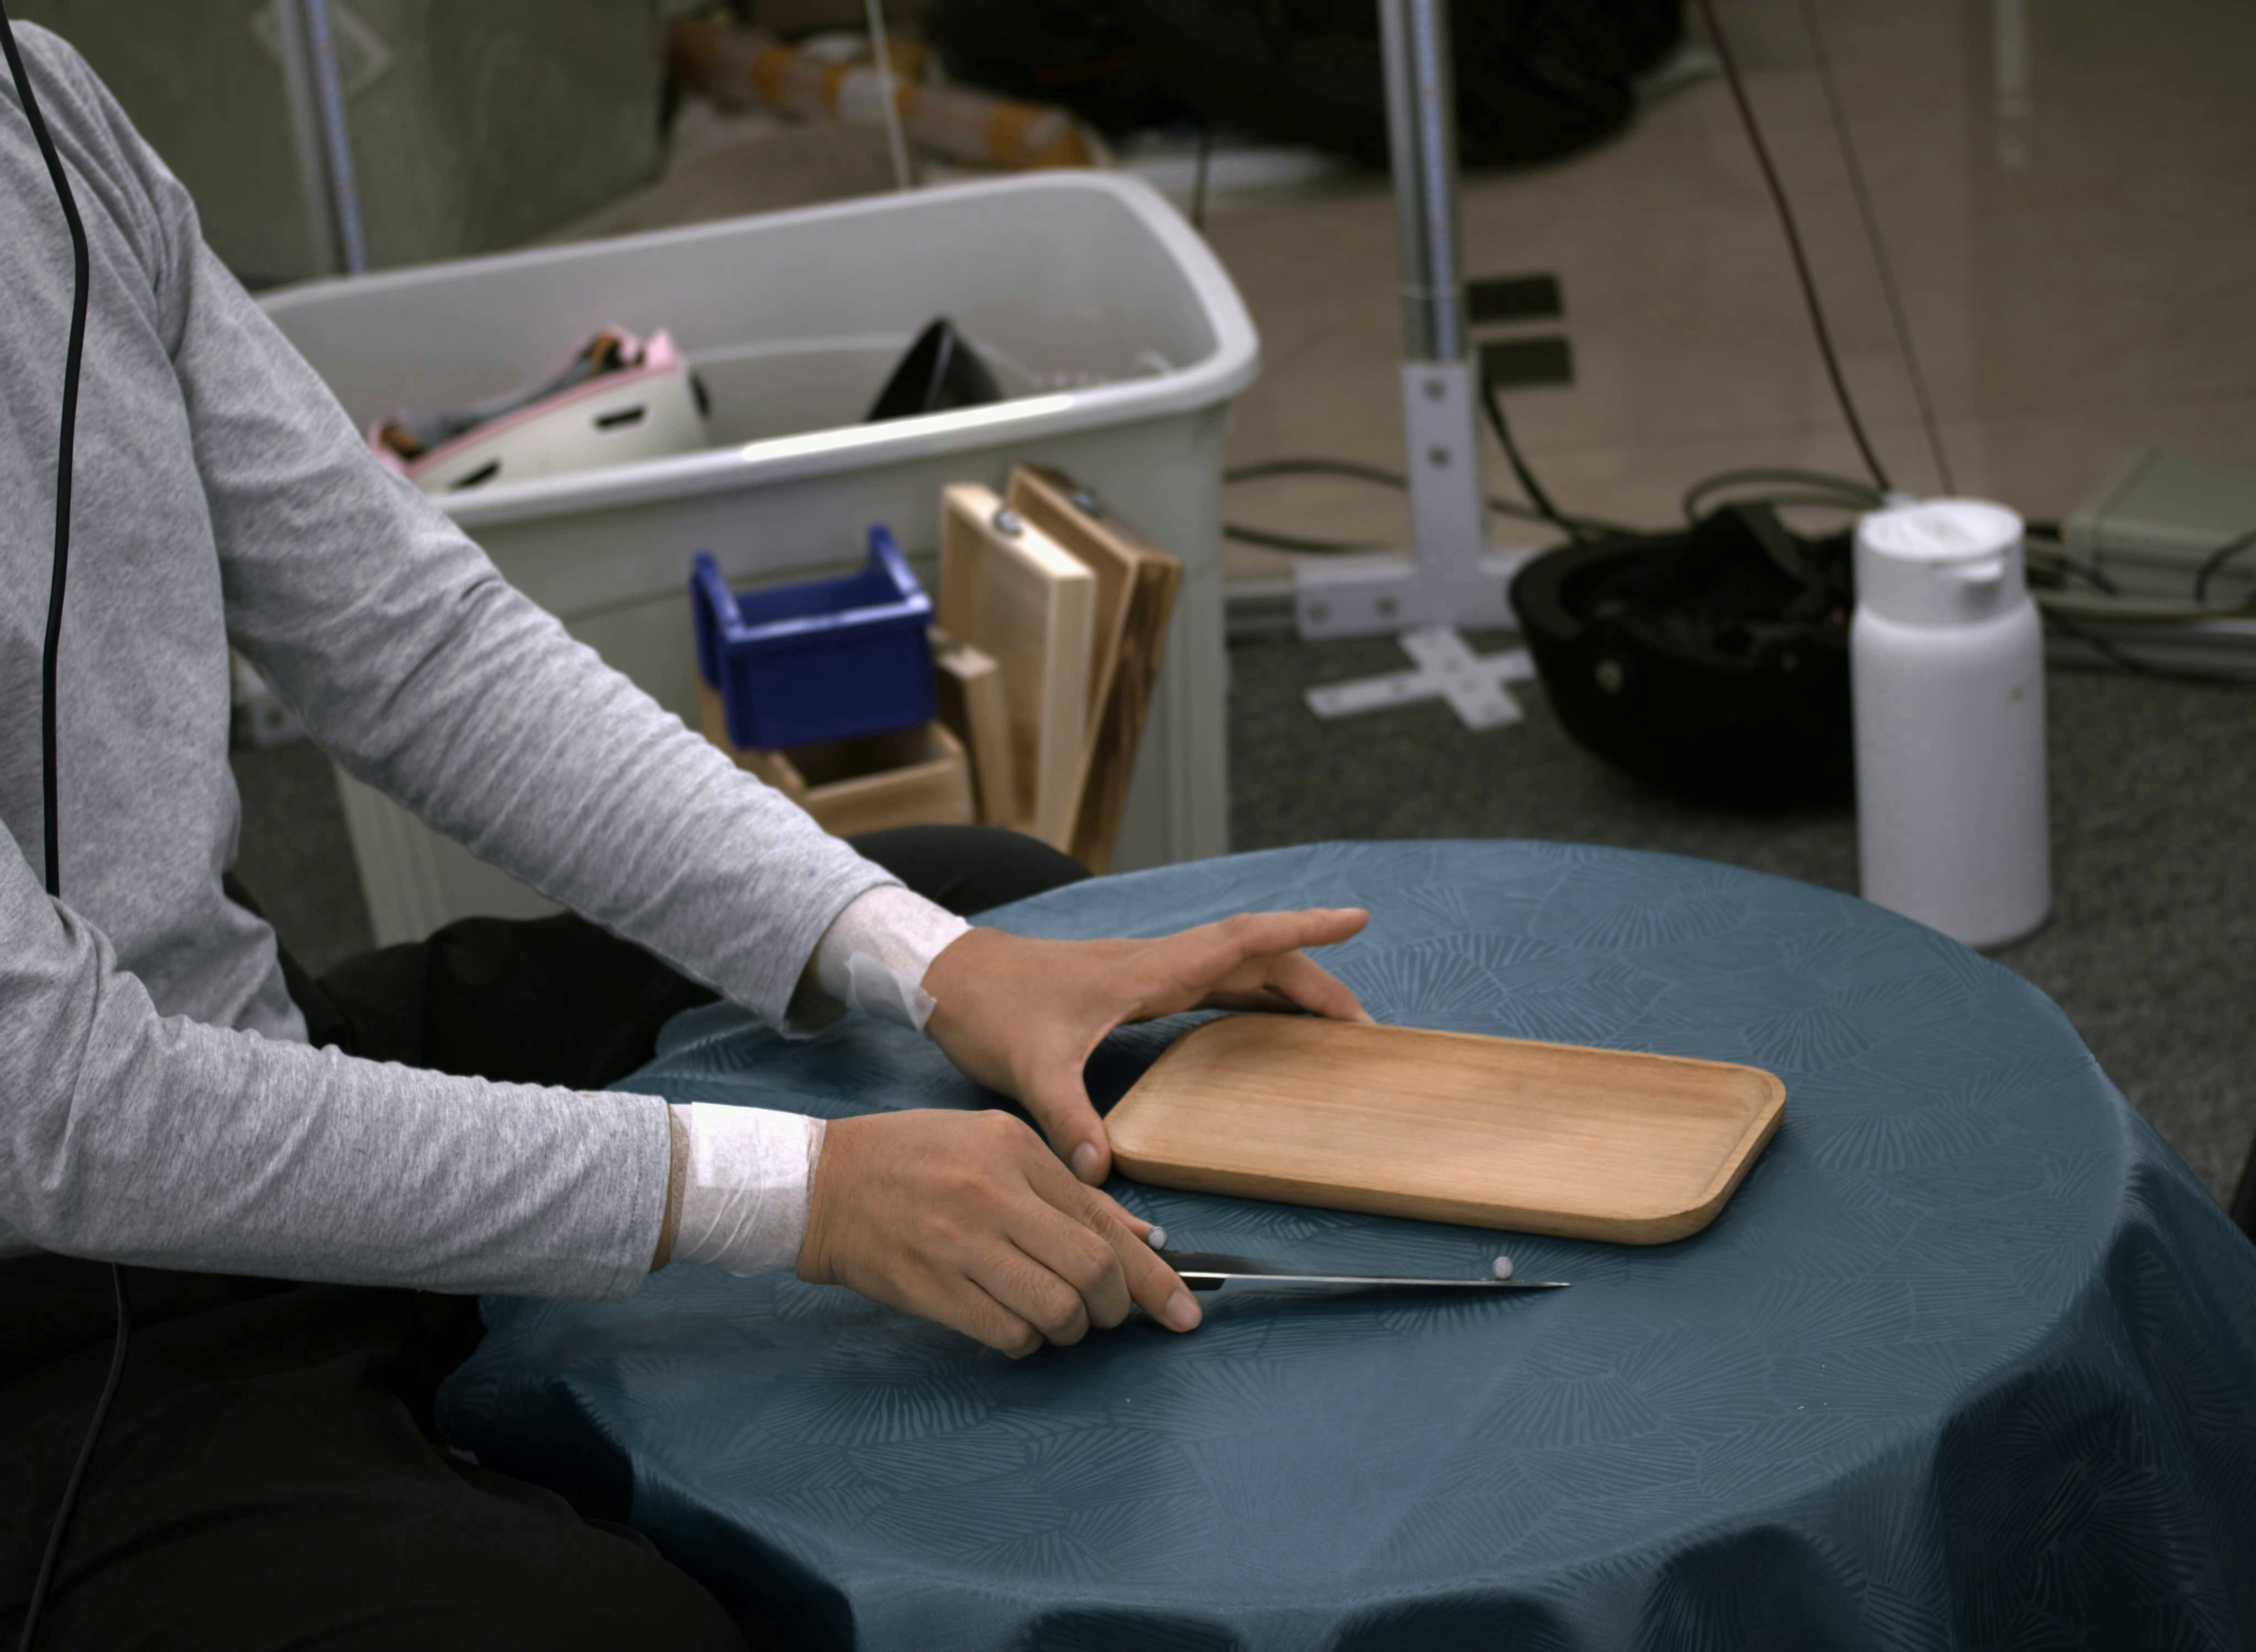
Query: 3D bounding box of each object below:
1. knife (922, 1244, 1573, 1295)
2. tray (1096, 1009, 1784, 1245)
[{"bbox_3d":[0.043,0.163,2.062,0.238,0.016,0.024,2,6,4],"label":"knife"},{"bbox_3d":[0.118,0.114,2.158,0.250,0.023,0.129,5,24,26],"label":"tray"}]
